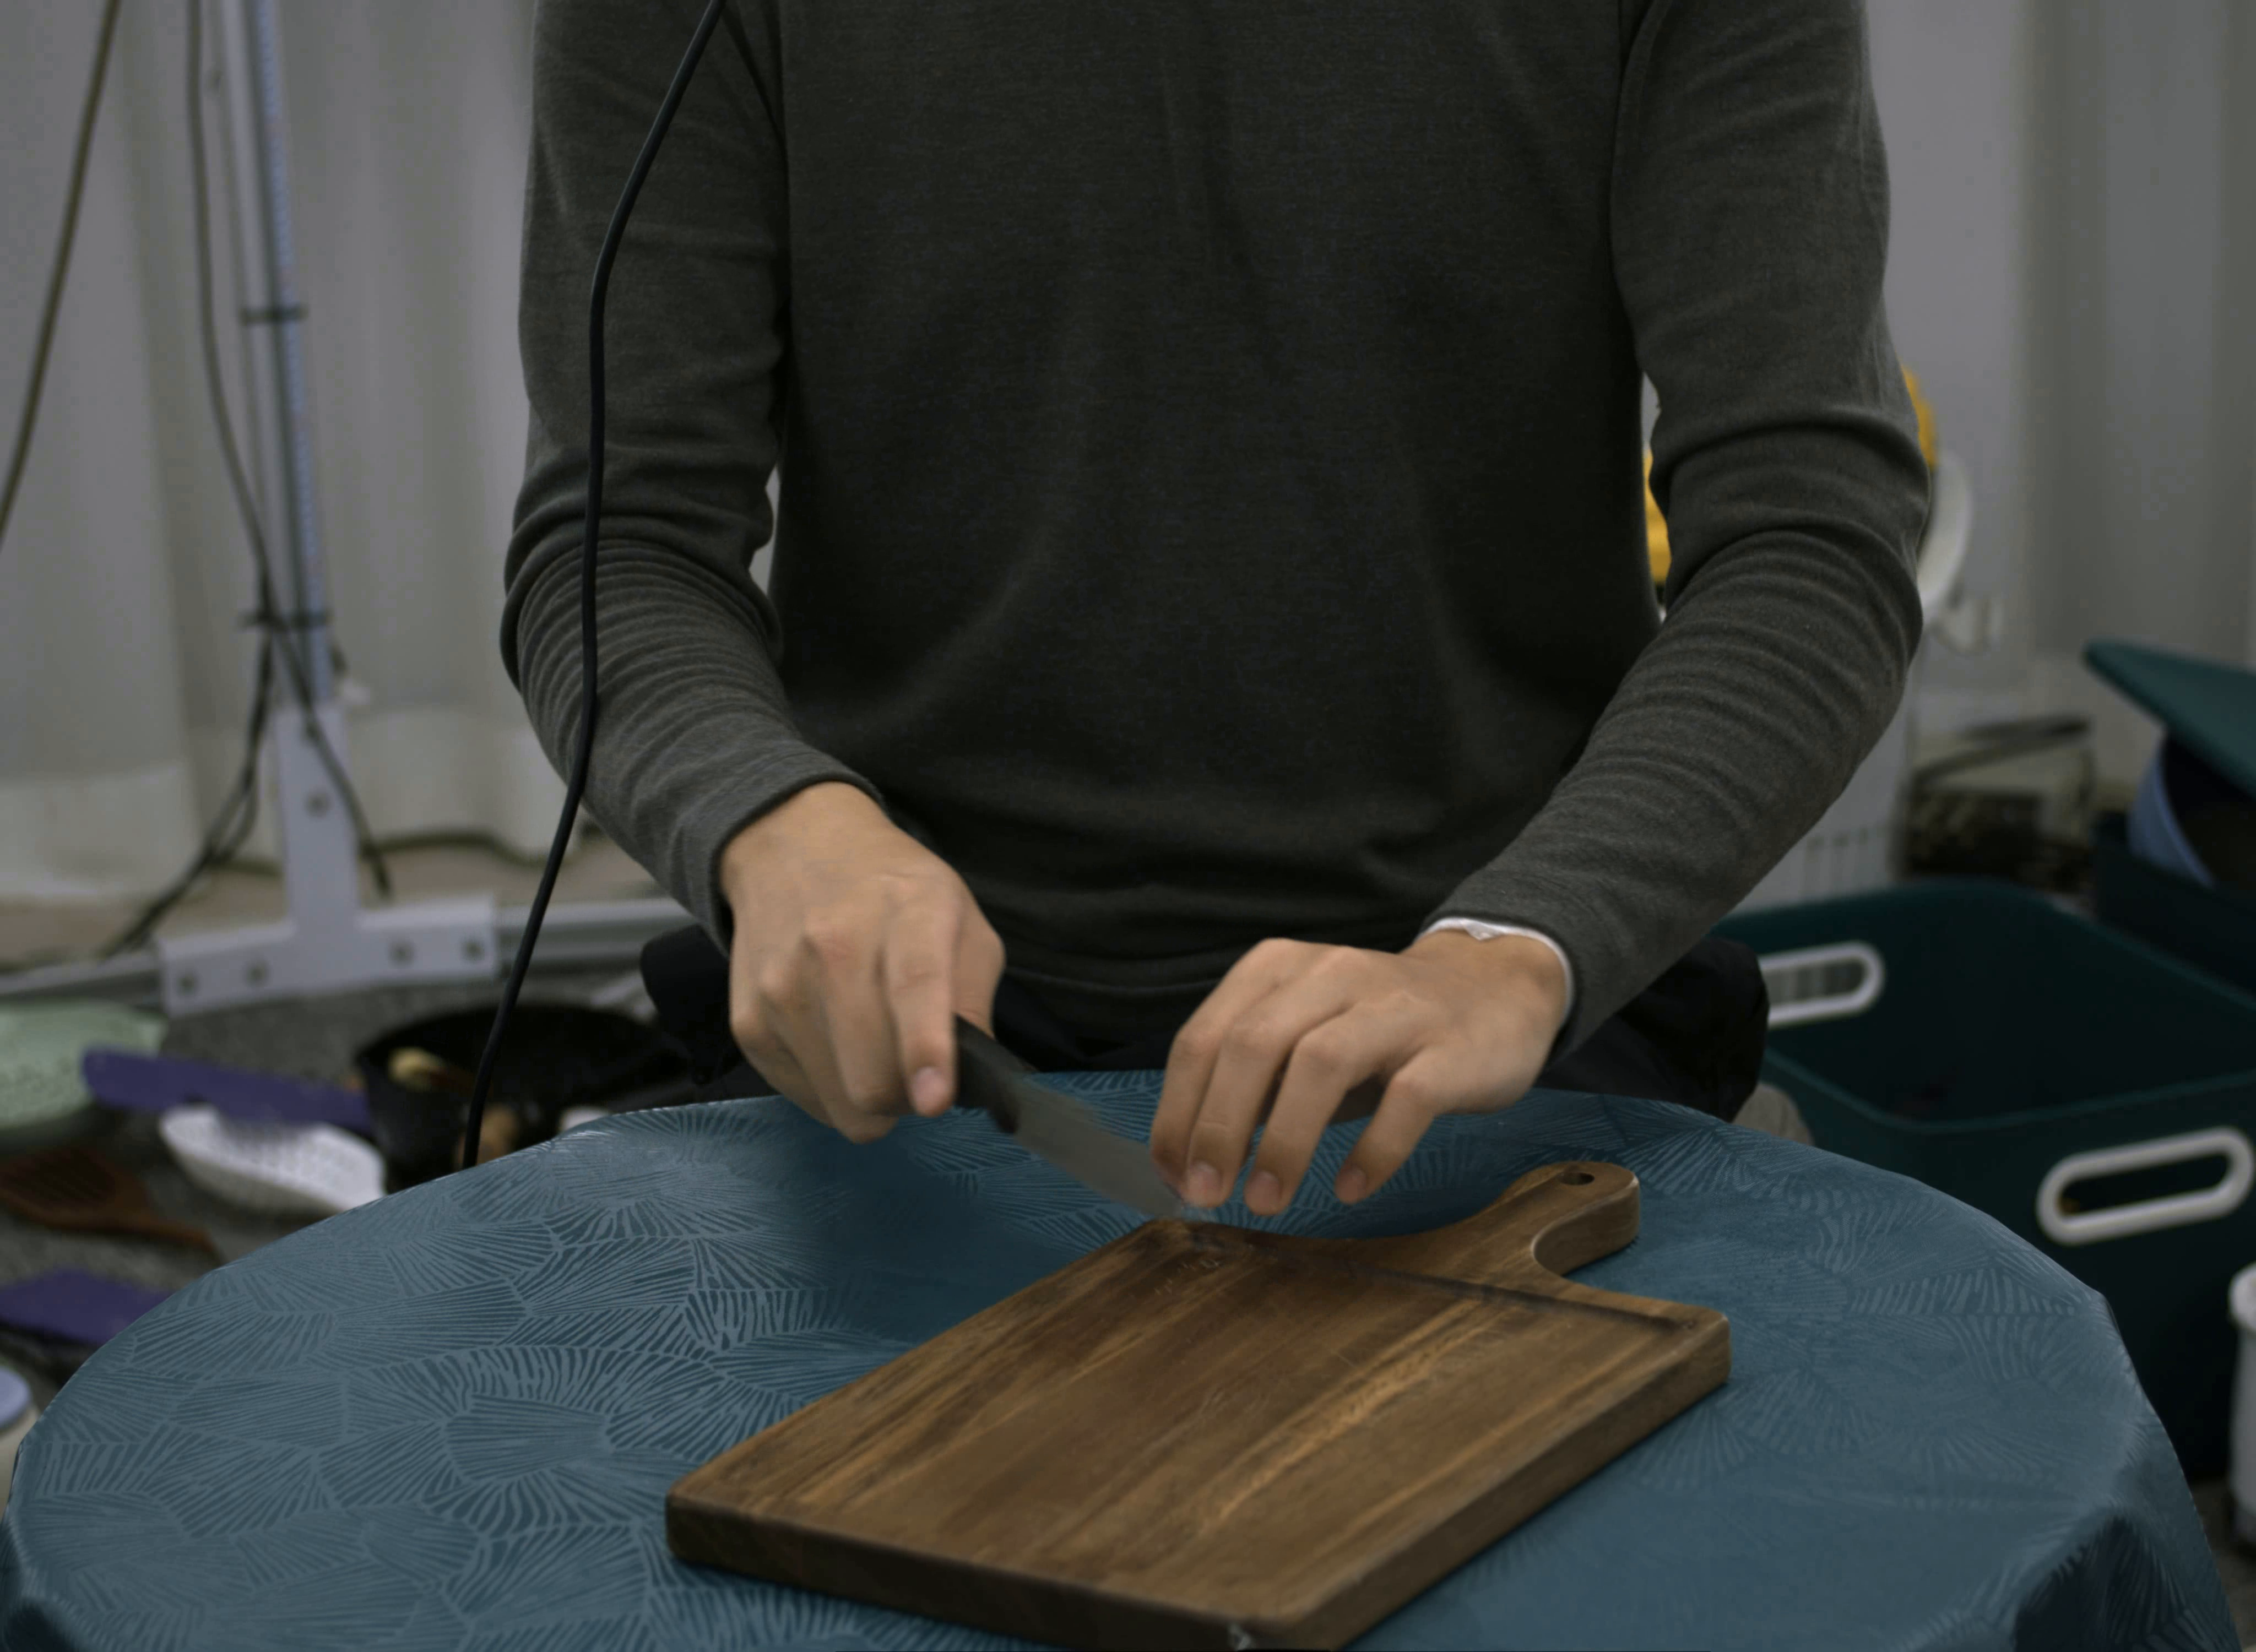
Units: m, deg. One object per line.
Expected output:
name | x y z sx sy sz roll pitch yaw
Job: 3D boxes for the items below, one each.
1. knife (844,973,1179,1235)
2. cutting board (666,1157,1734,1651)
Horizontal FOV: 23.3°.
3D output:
knife | -0.033 0.077 1.538 0.016 0.024 0.240 2 12 -24
cutting board | 0.051 0.153 1.525 0.202 0.023 0.352 7 18 32
